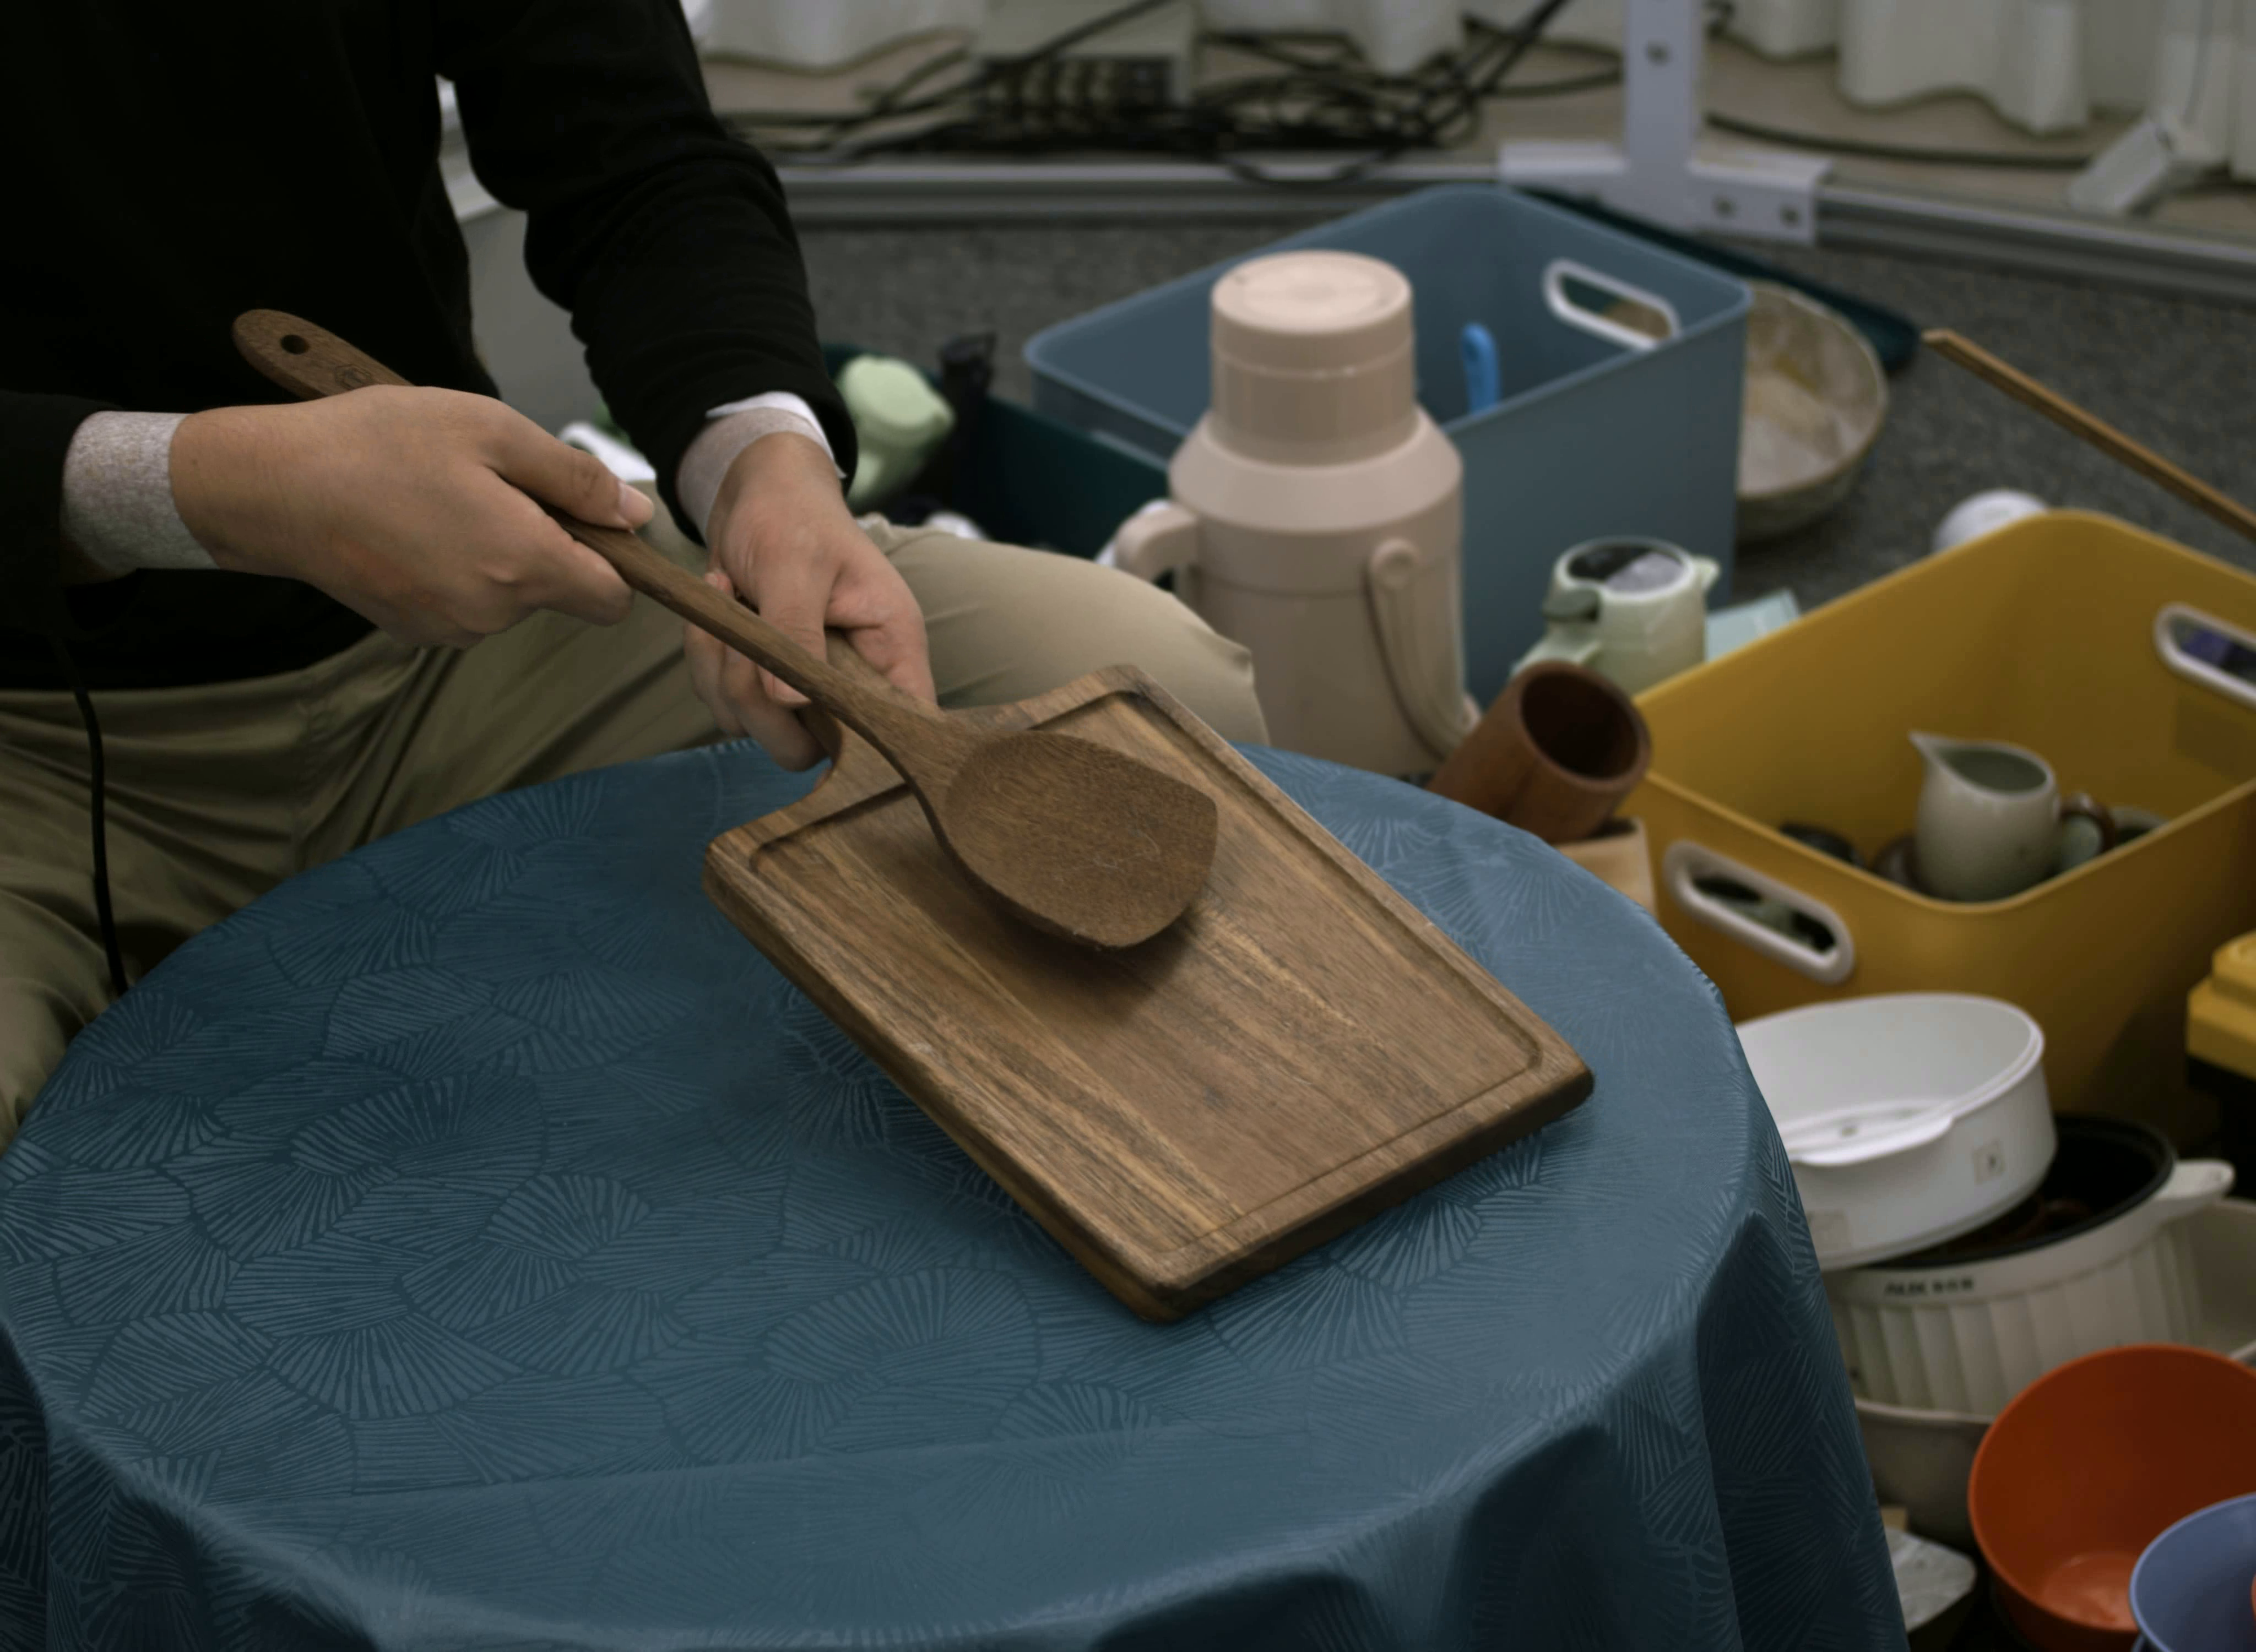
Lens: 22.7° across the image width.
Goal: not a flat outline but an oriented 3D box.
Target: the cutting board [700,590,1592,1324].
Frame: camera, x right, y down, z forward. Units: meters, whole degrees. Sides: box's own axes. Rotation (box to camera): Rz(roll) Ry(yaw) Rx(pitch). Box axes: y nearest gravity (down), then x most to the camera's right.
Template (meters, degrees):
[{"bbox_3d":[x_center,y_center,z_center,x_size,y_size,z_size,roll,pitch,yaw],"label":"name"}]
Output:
[{"bbox_3d":[-0.026,0.022,1.926,0.203,0.023,0.354,-24,50,-34],"label":"cutting board"}]

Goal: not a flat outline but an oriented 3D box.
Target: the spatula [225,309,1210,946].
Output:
[{"bbox_3d":[-0.144,-0.075,1.920,0.385,0.015,0.098,32,42,4],"label":"spatula"}]
